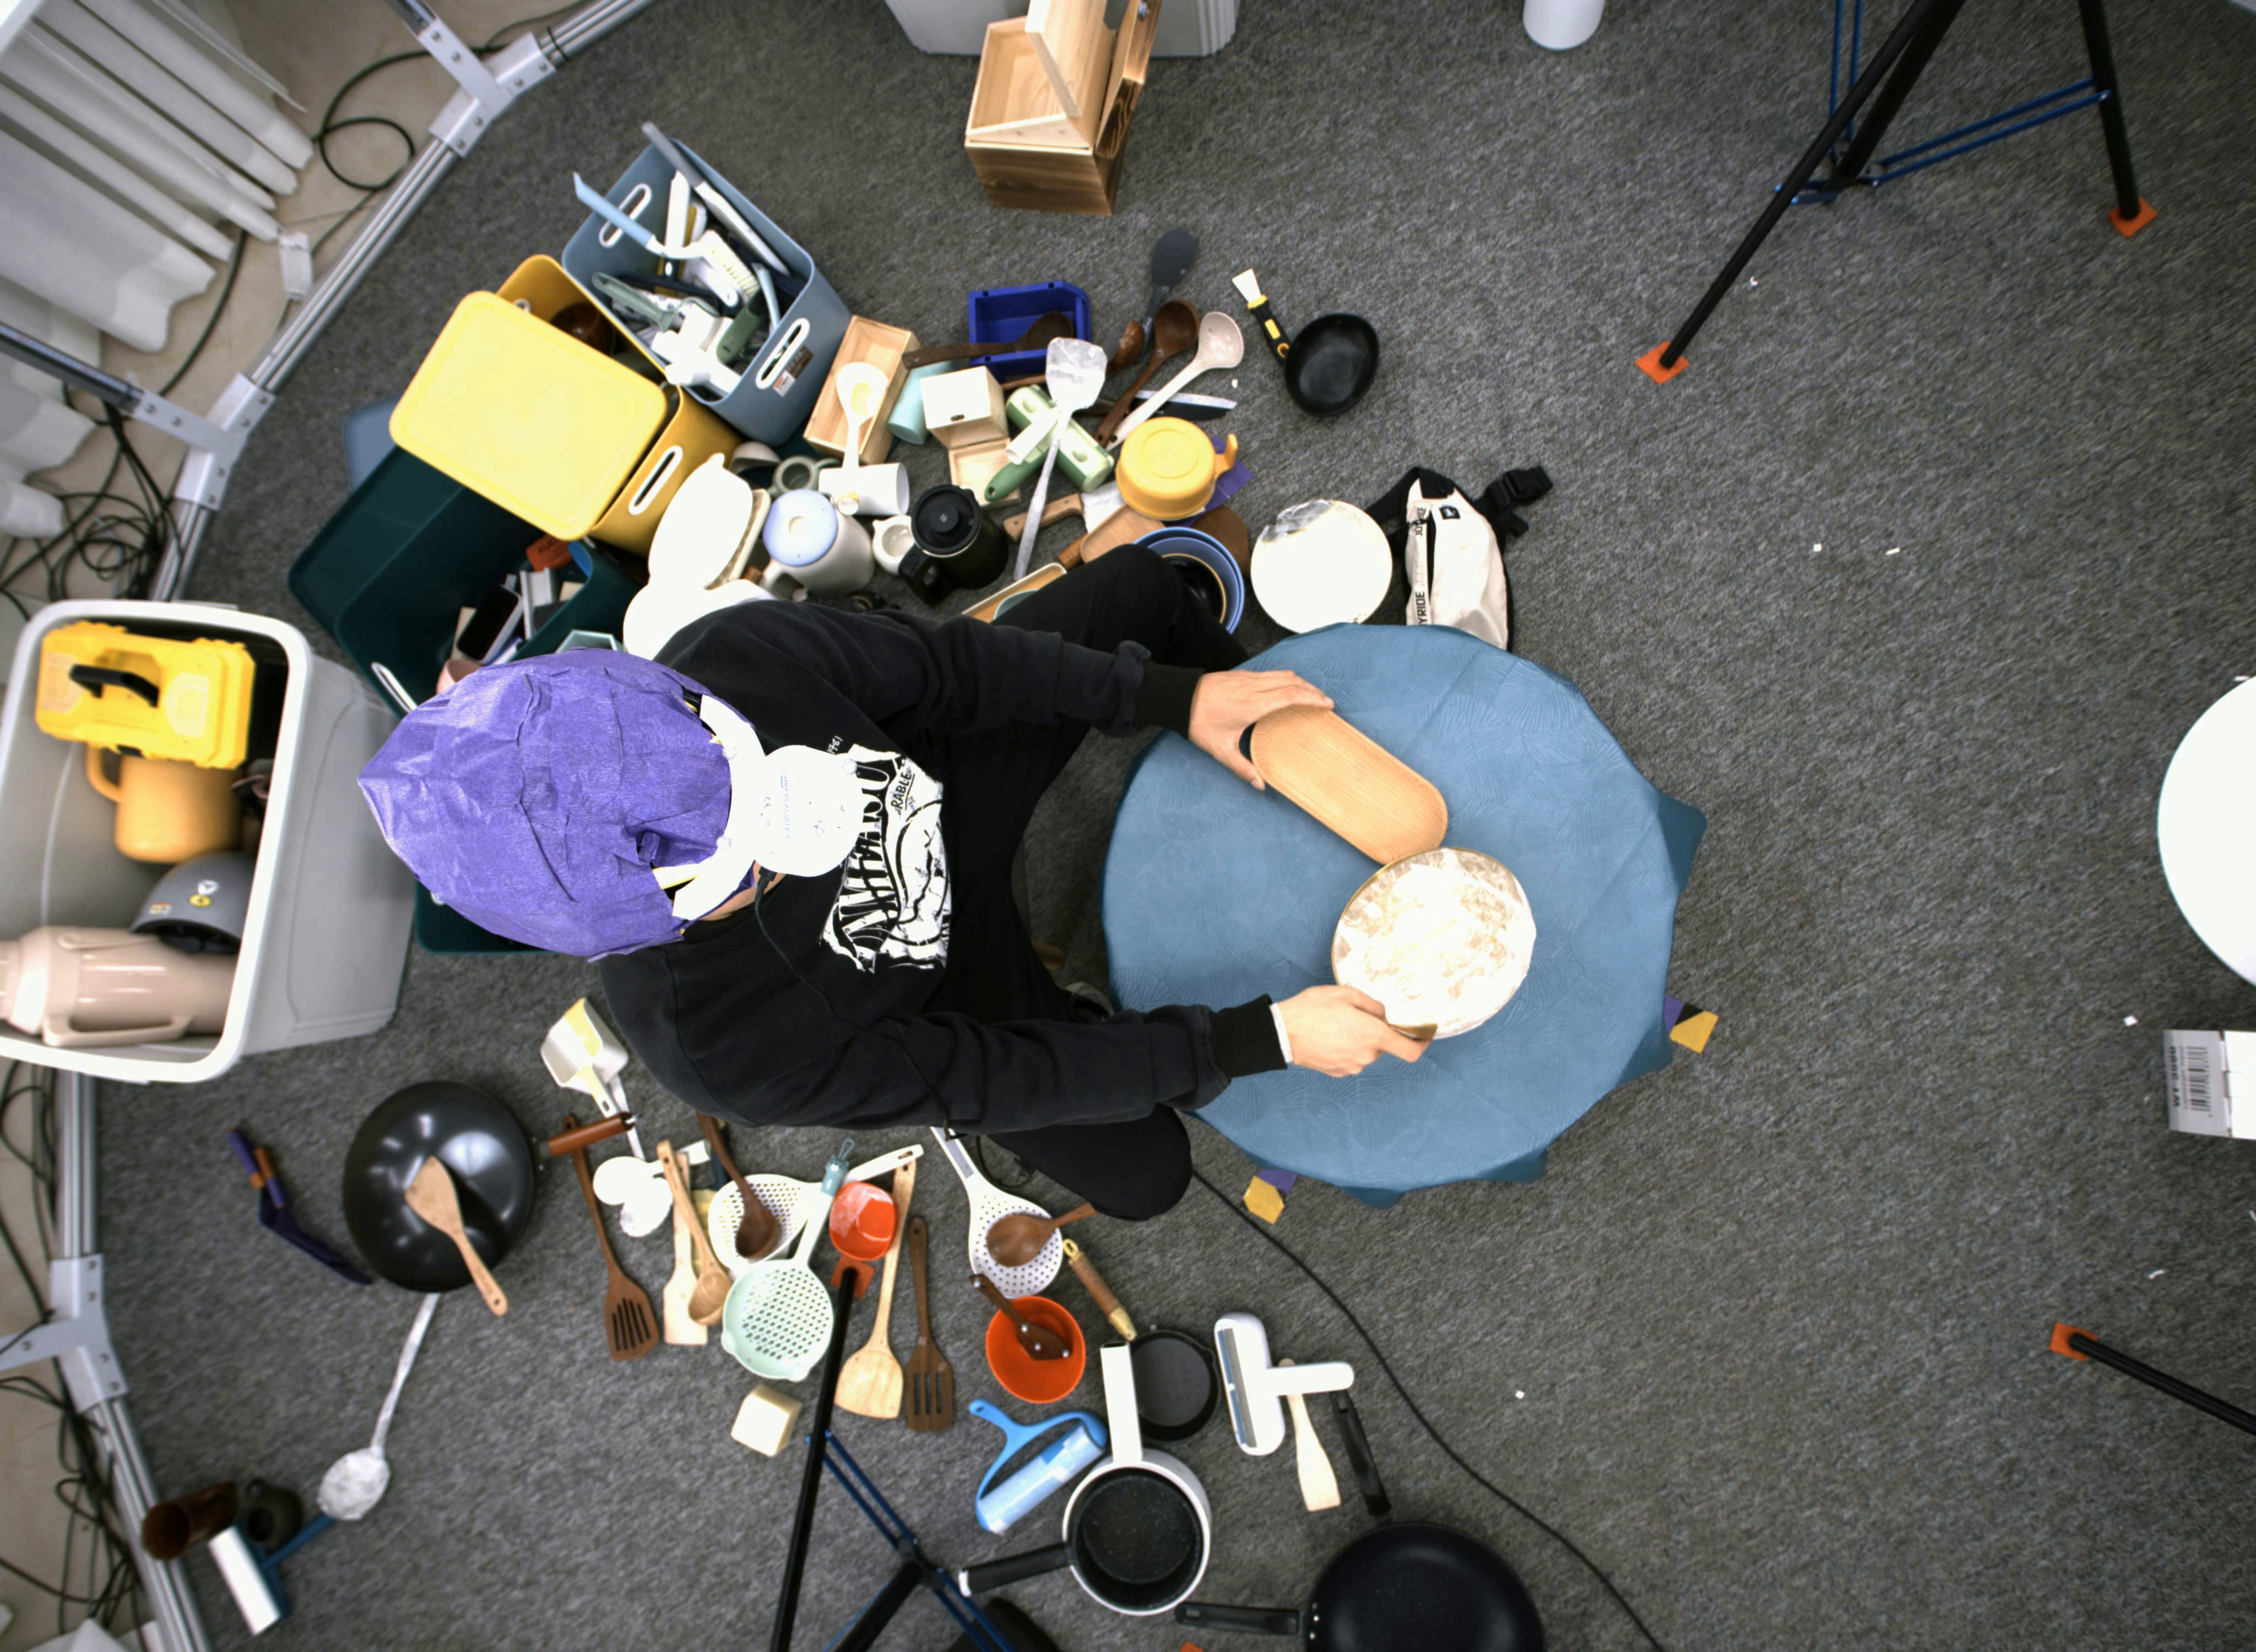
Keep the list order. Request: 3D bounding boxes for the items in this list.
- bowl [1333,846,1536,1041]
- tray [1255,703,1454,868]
[{"bbox_3d":[0.311,0.127,1.365,0.217,0.096,0.209,-22,48,25],"label":"bowl"},{"bbox_3d":[0.238,-0.044,1.456,0.231,0.020,0.102,35,95,0],"label":"tray"}]
